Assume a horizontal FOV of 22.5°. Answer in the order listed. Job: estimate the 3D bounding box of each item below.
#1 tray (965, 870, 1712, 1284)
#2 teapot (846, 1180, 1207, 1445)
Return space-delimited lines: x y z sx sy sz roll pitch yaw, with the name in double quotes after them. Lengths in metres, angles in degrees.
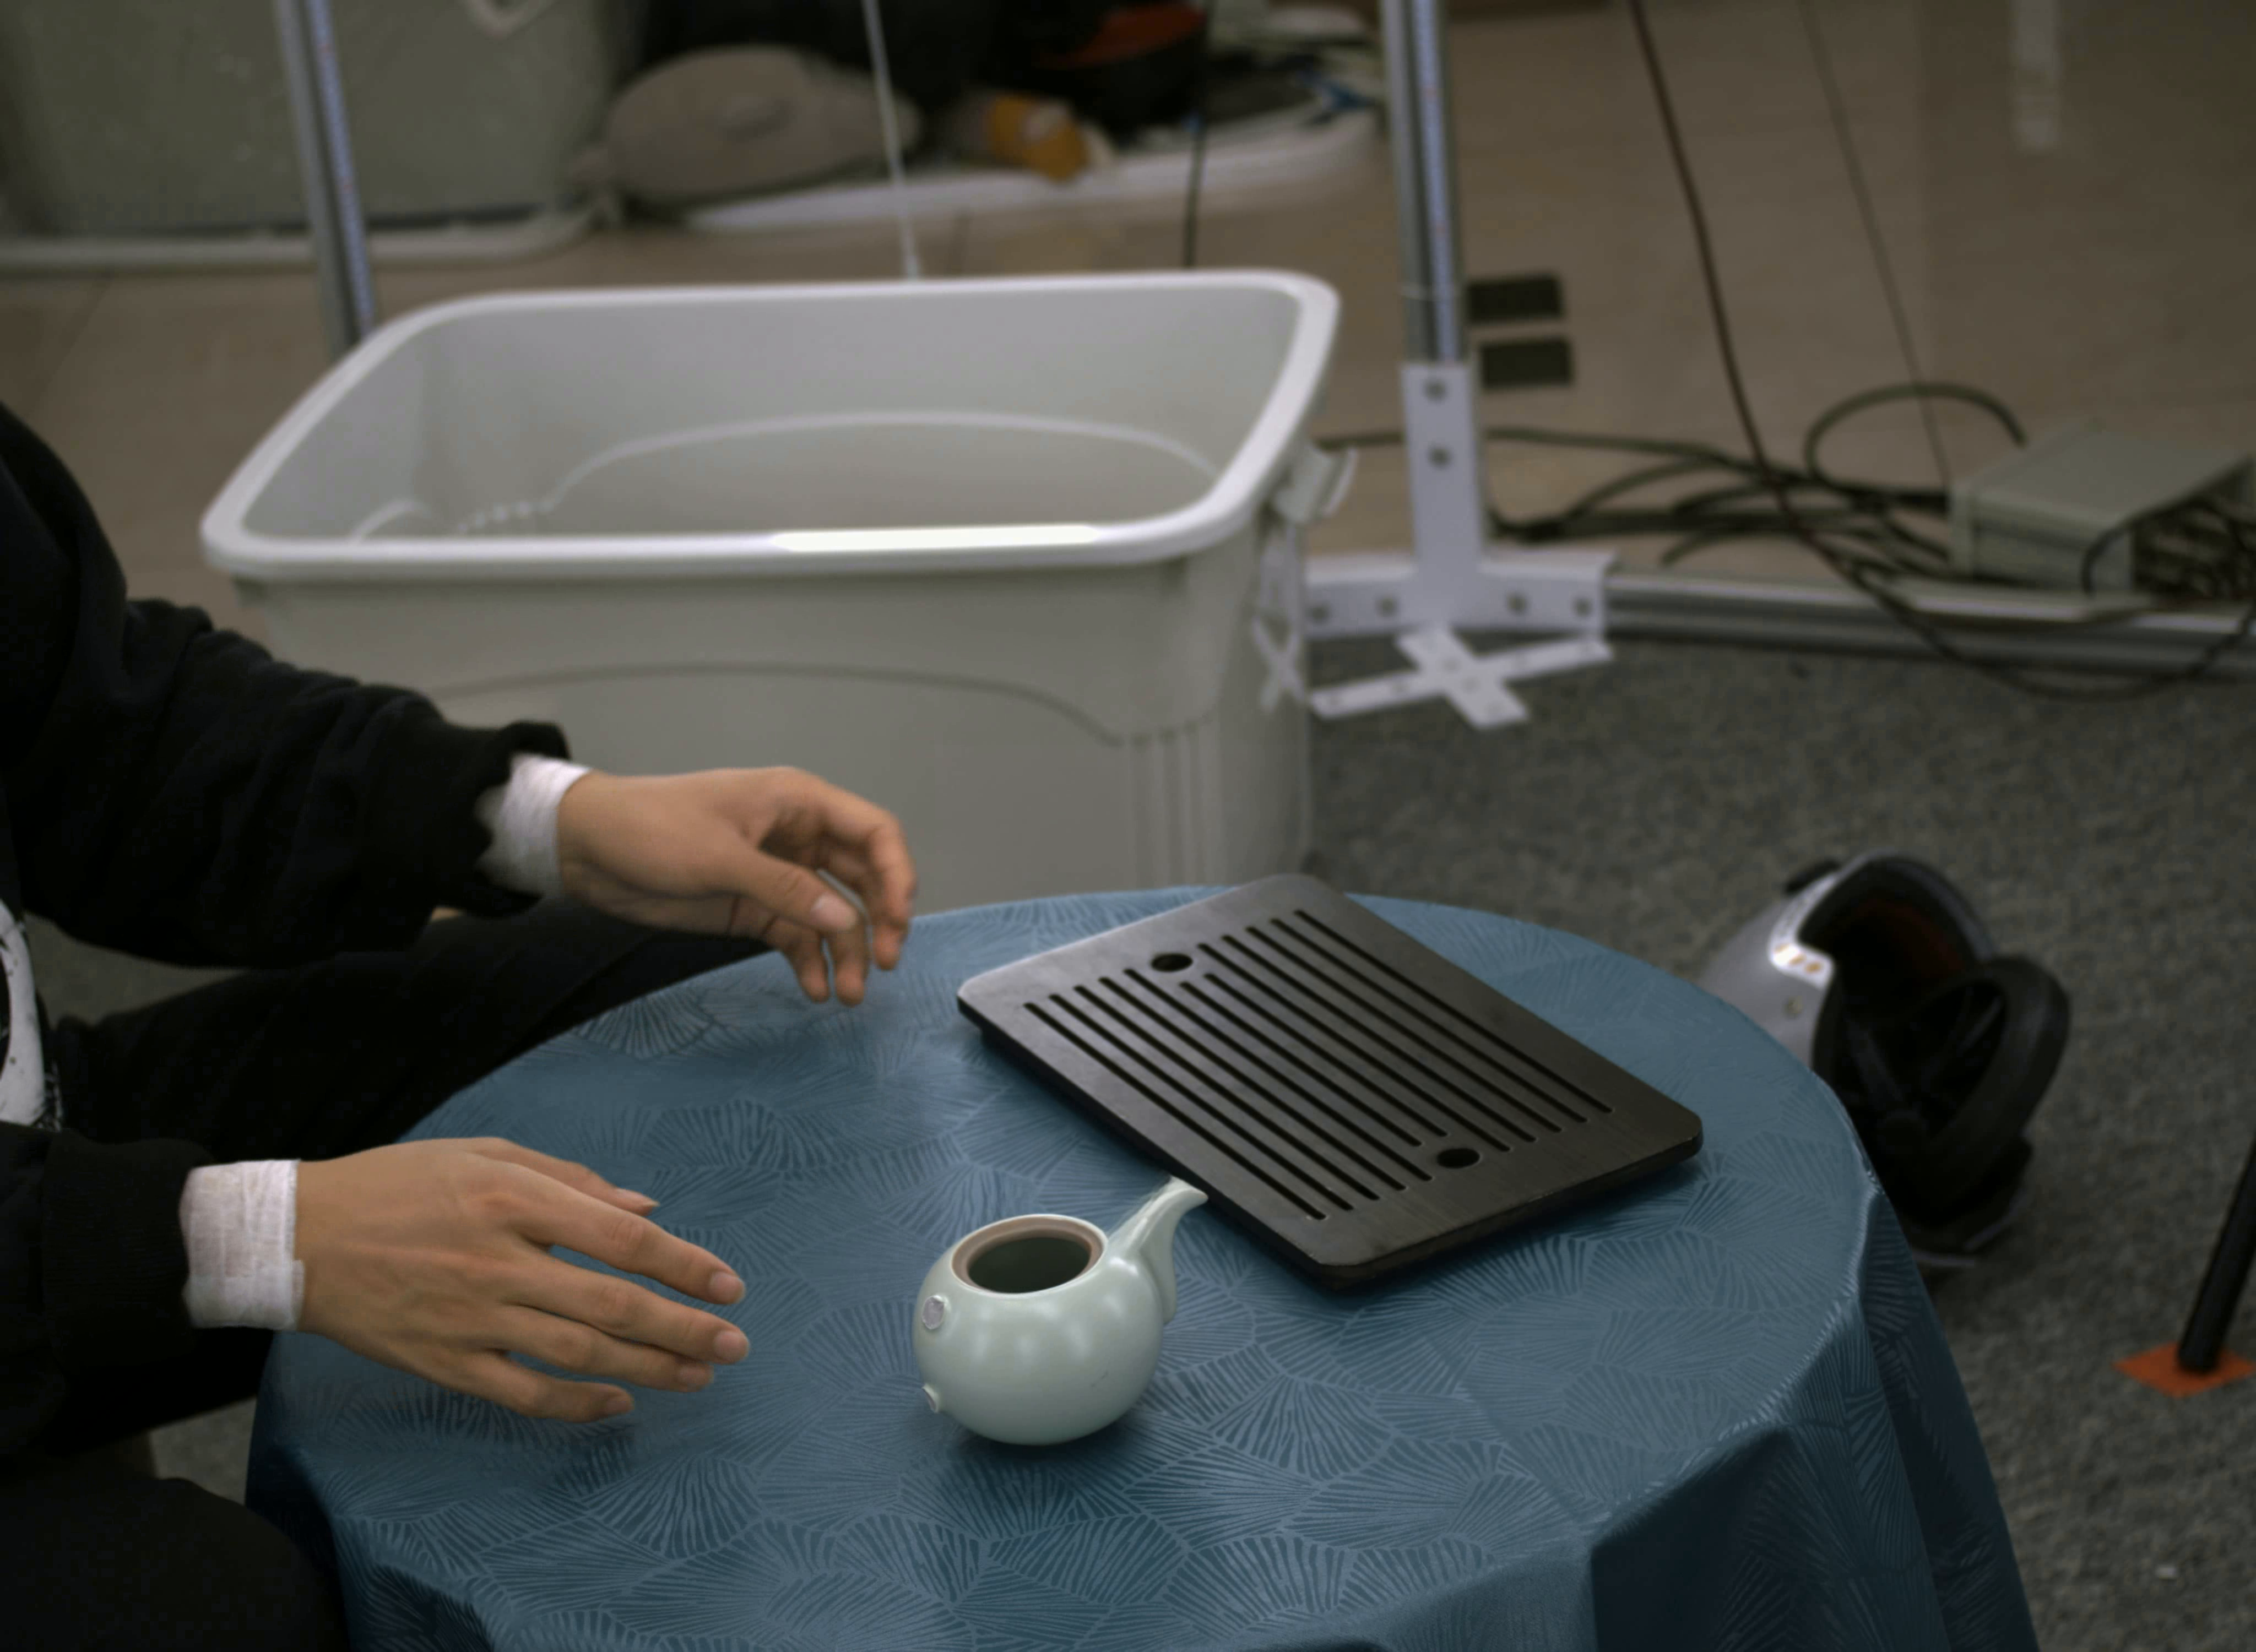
0.076 0.095 2.205 0.169 0.019 0.302 -18 27 -24 "tray"
-0.033 0.175 1.992 0.143 0.076 0.087 -16 27 -23 "teapot"
